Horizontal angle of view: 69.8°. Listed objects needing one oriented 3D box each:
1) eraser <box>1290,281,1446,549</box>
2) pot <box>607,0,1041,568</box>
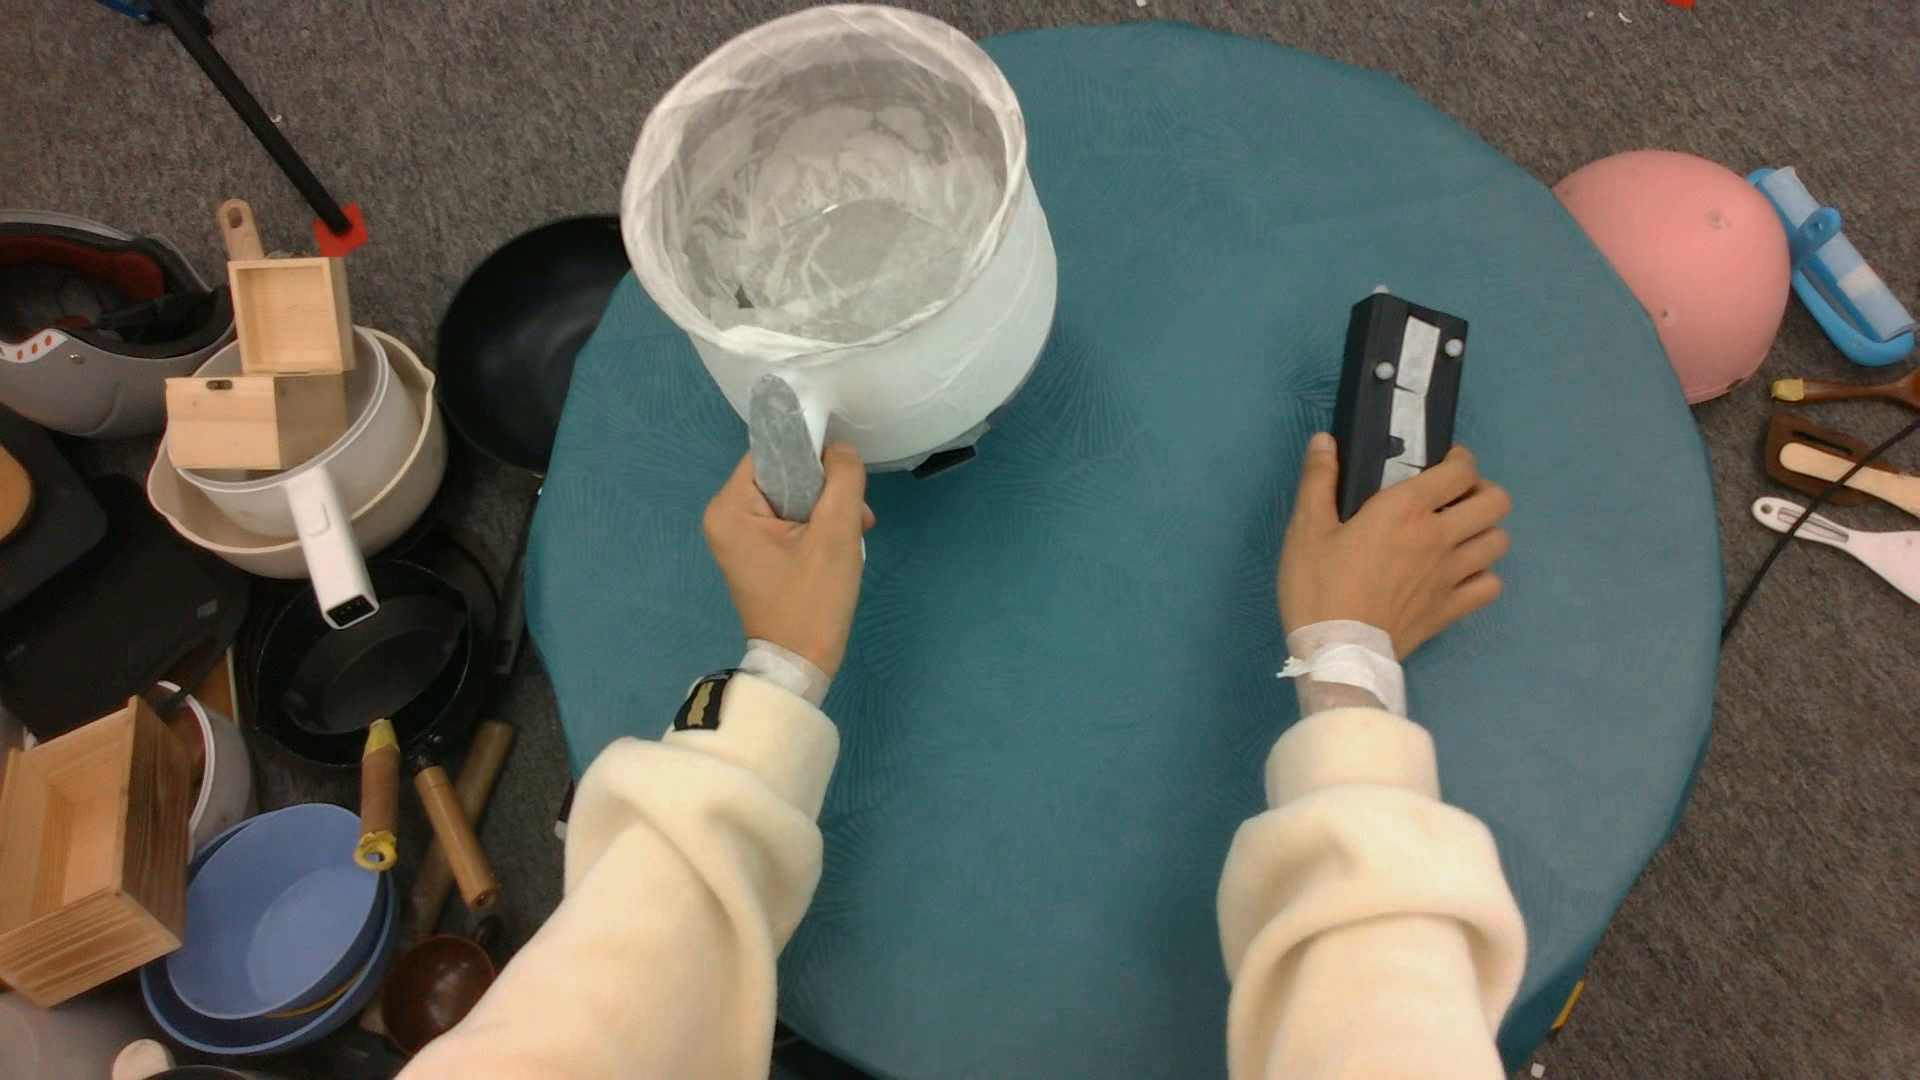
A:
[{"bbox_3d":[0.198,-0.061,0.667,0.053,0.030,0.126,17,74,-9],"label":"eraser"},{"bbox_3d":[-0.058,-0.111,0.630,0.178,0.136,0.234,4,69,13],"label":"pot"}]
